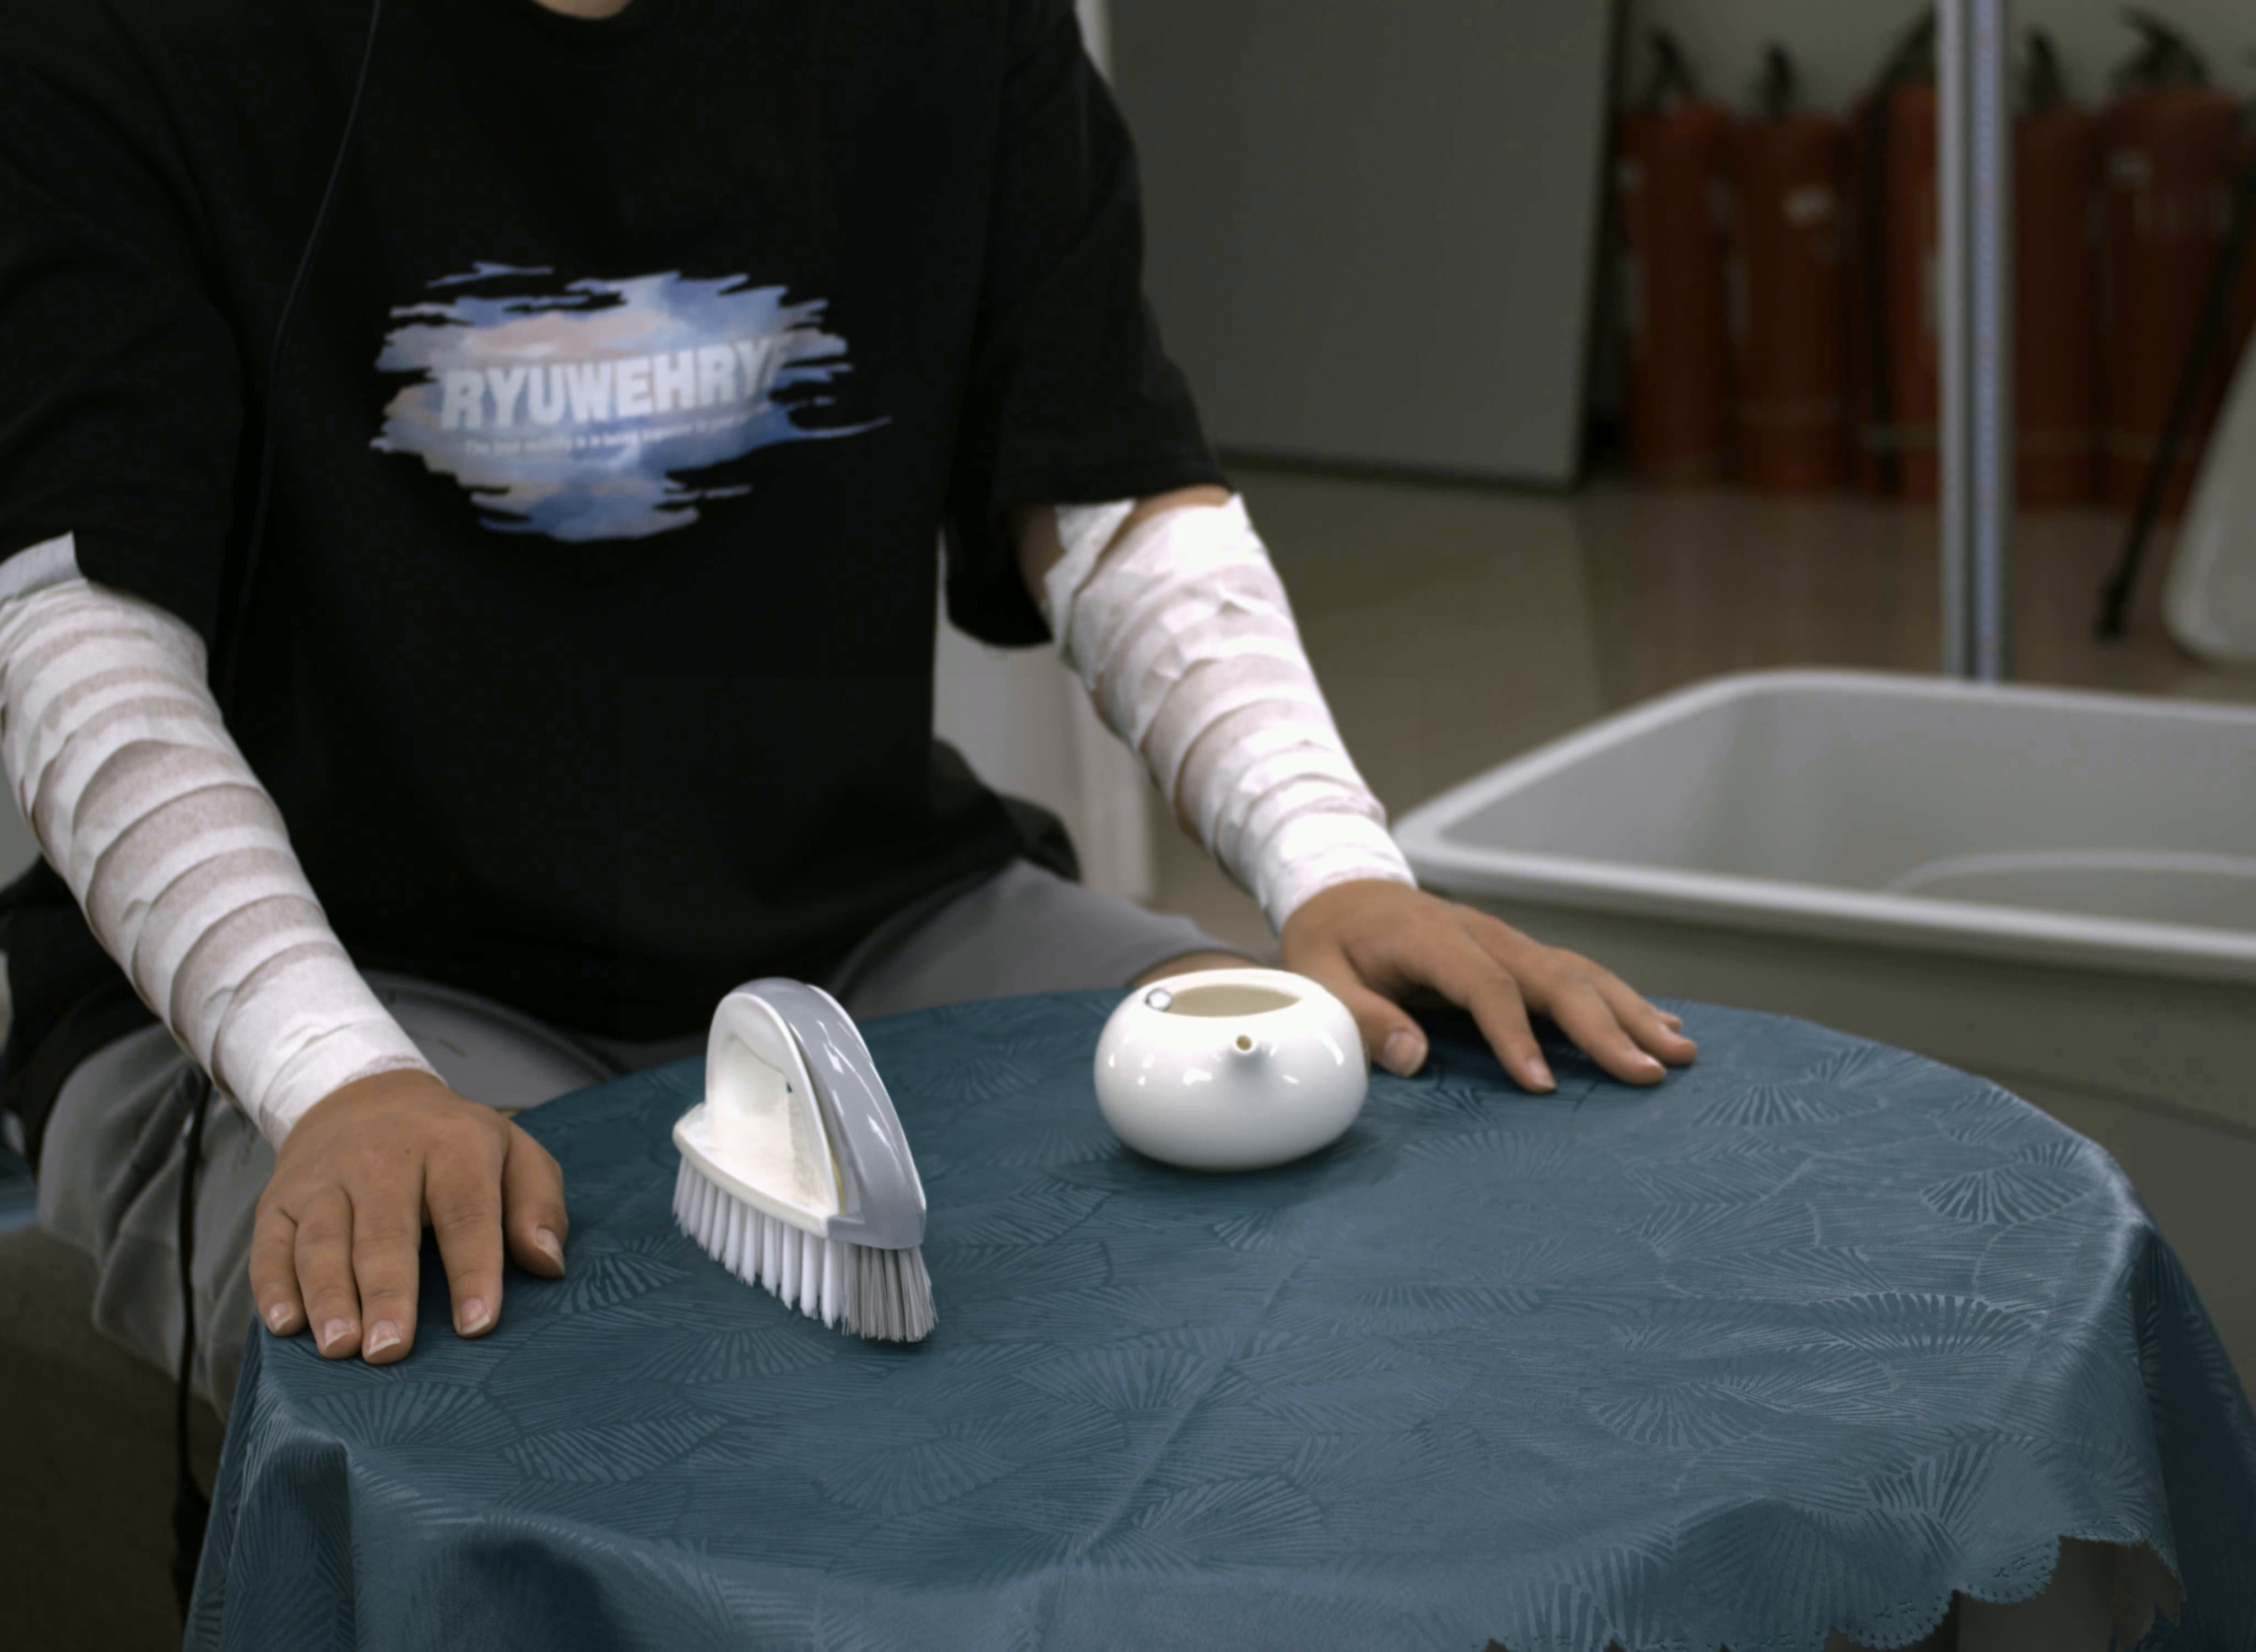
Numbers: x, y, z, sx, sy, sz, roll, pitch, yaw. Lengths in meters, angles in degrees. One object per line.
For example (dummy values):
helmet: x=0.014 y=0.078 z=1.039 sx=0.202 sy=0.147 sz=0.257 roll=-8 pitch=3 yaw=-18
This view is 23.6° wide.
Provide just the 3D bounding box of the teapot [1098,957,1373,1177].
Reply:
teapot: x=0.035 y=0.080 z=1.816 sx=0.092 sy=0.057 sz=0.128 roll=-9 pitch=13 yaw=-4

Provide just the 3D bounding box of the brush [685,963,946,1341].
brush: x=-0.095 y=0.098 z=1.702 sx=0.060 sy=0.095 sz=0.177 roll=-11 pitch=16 yaw=-18
